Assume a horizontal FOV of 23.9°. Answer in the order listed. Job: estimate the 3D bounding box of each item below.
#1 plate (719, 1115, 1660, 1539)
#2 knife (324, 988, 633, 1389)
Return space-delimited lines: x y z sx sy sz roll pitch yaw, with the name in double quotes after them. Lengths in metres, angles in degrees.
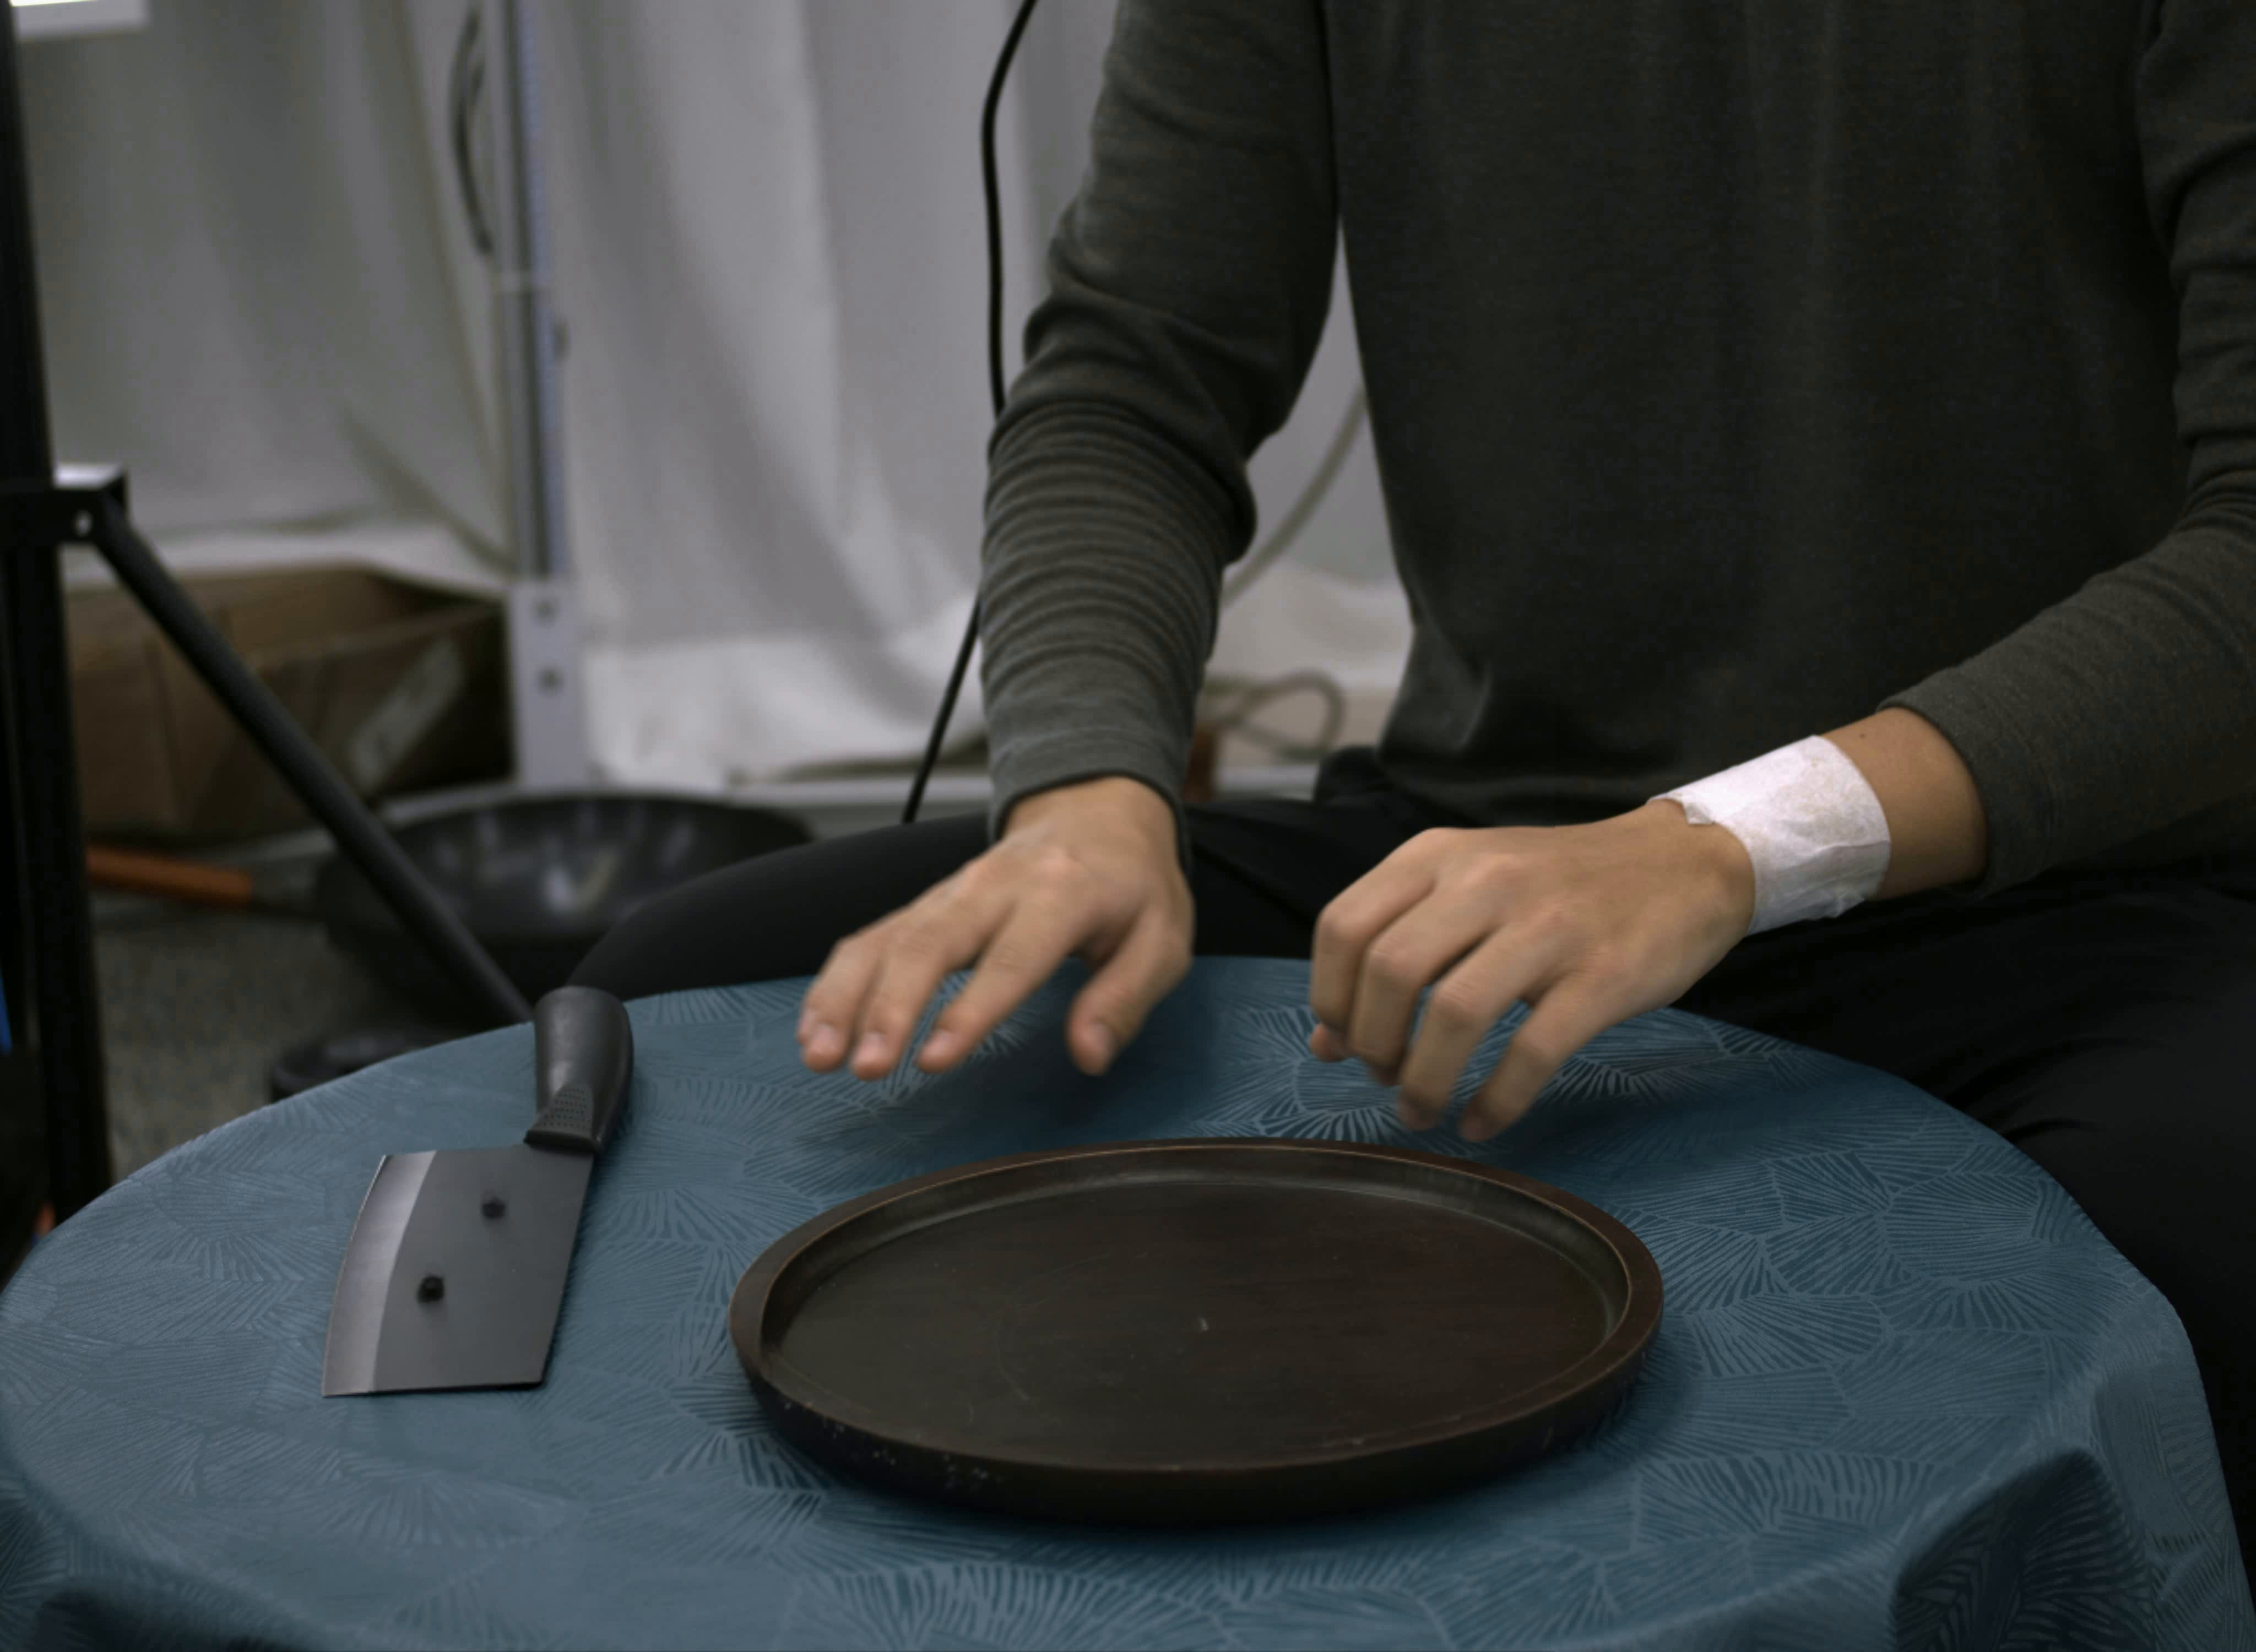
0.017 0.134 1.425 0.253 0.029 0.256 -3 17 0 "plate"
-0.186 0.105 1.575 0.081 0.021 0.302 -3 17 5 "knife"
